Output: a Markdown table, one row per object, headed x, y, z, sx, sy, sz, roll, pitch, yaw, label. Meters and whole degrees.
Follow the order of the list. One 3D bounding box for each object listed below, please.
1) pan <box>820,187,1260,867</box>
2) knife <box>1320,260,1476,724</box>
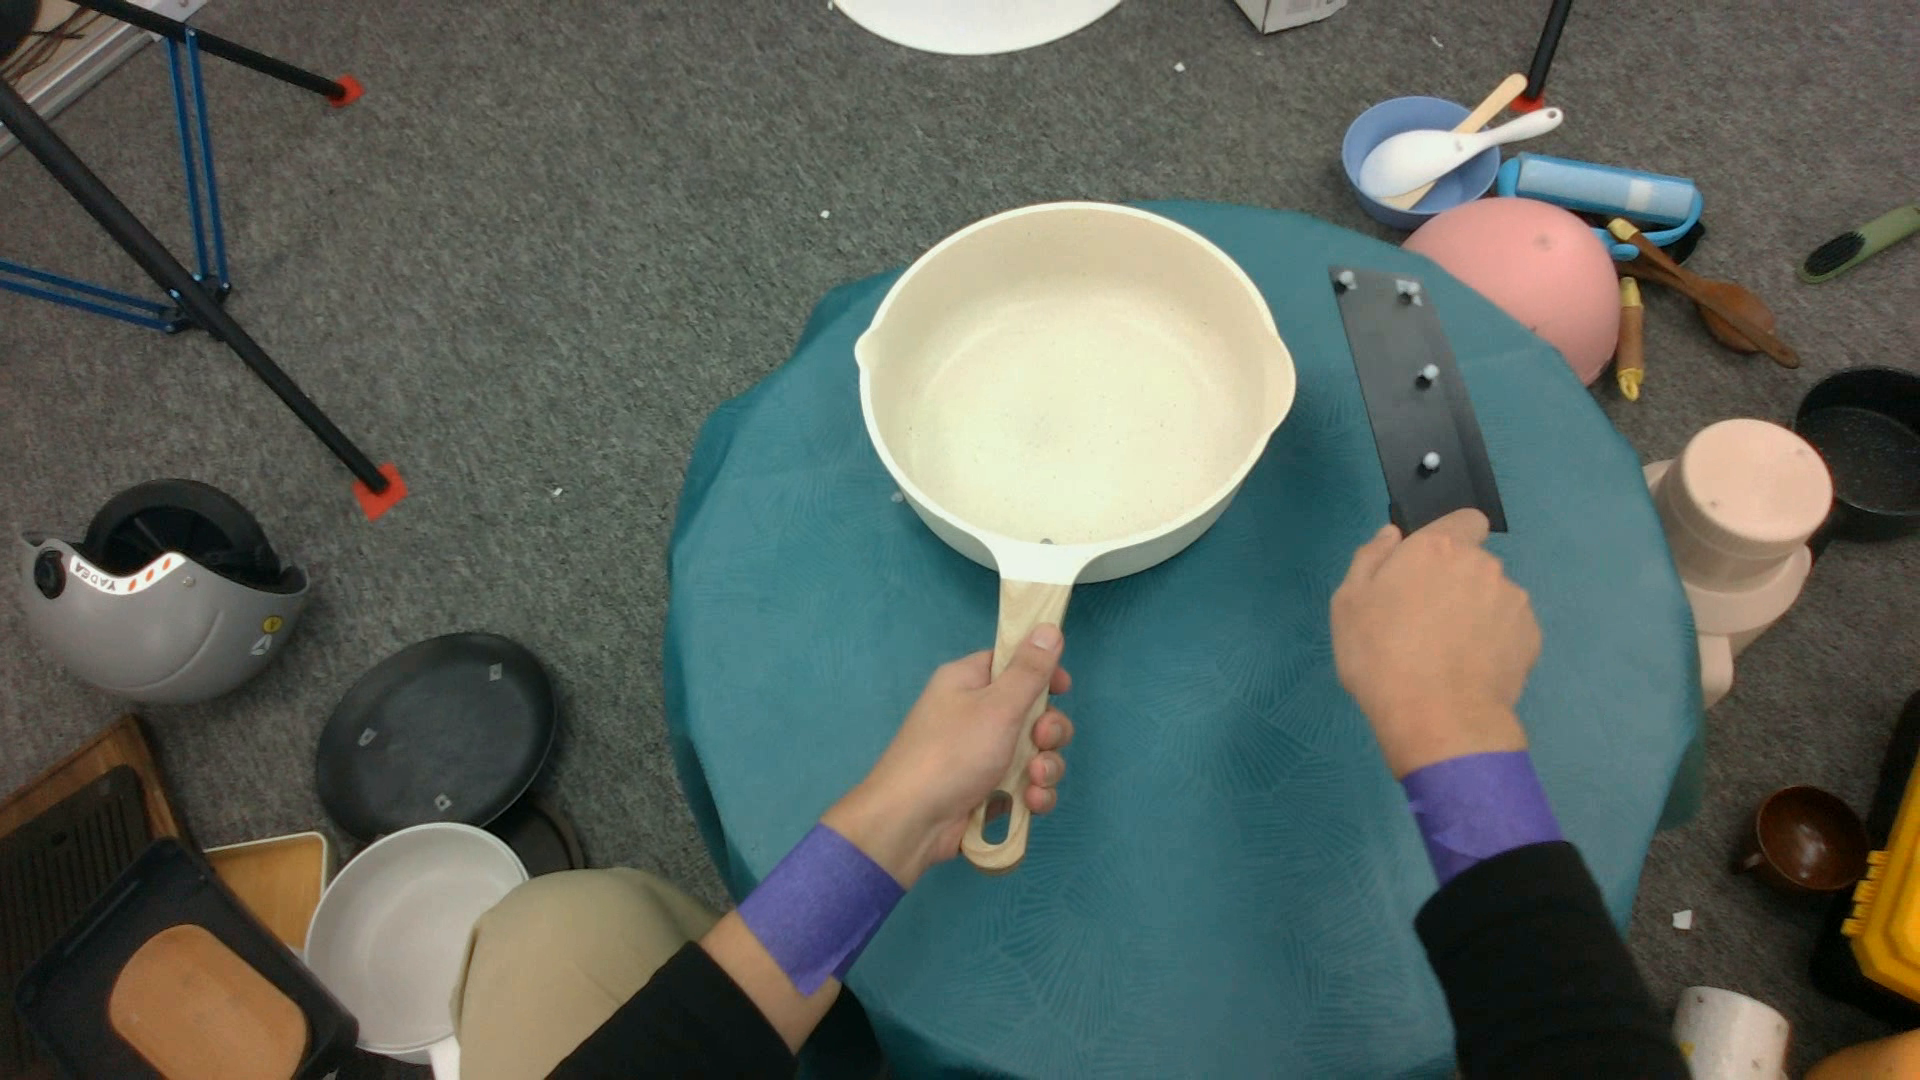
| x | y | z | sx | sy | sz | roll | pitch | yaw | label |
| --- | --- | --- | --- | --- | --- | --- | --- | --- | --- |
| 0.036 | -0.017 | 0.807 | 0.263 | 0.101 | 0.436 | 5 | 63 | 5 | pan |
| 0.243 | -0.040 | 0.748 | 0.081 | 0.021 | 0.303 | 10 | 56 | -7 | knife |
